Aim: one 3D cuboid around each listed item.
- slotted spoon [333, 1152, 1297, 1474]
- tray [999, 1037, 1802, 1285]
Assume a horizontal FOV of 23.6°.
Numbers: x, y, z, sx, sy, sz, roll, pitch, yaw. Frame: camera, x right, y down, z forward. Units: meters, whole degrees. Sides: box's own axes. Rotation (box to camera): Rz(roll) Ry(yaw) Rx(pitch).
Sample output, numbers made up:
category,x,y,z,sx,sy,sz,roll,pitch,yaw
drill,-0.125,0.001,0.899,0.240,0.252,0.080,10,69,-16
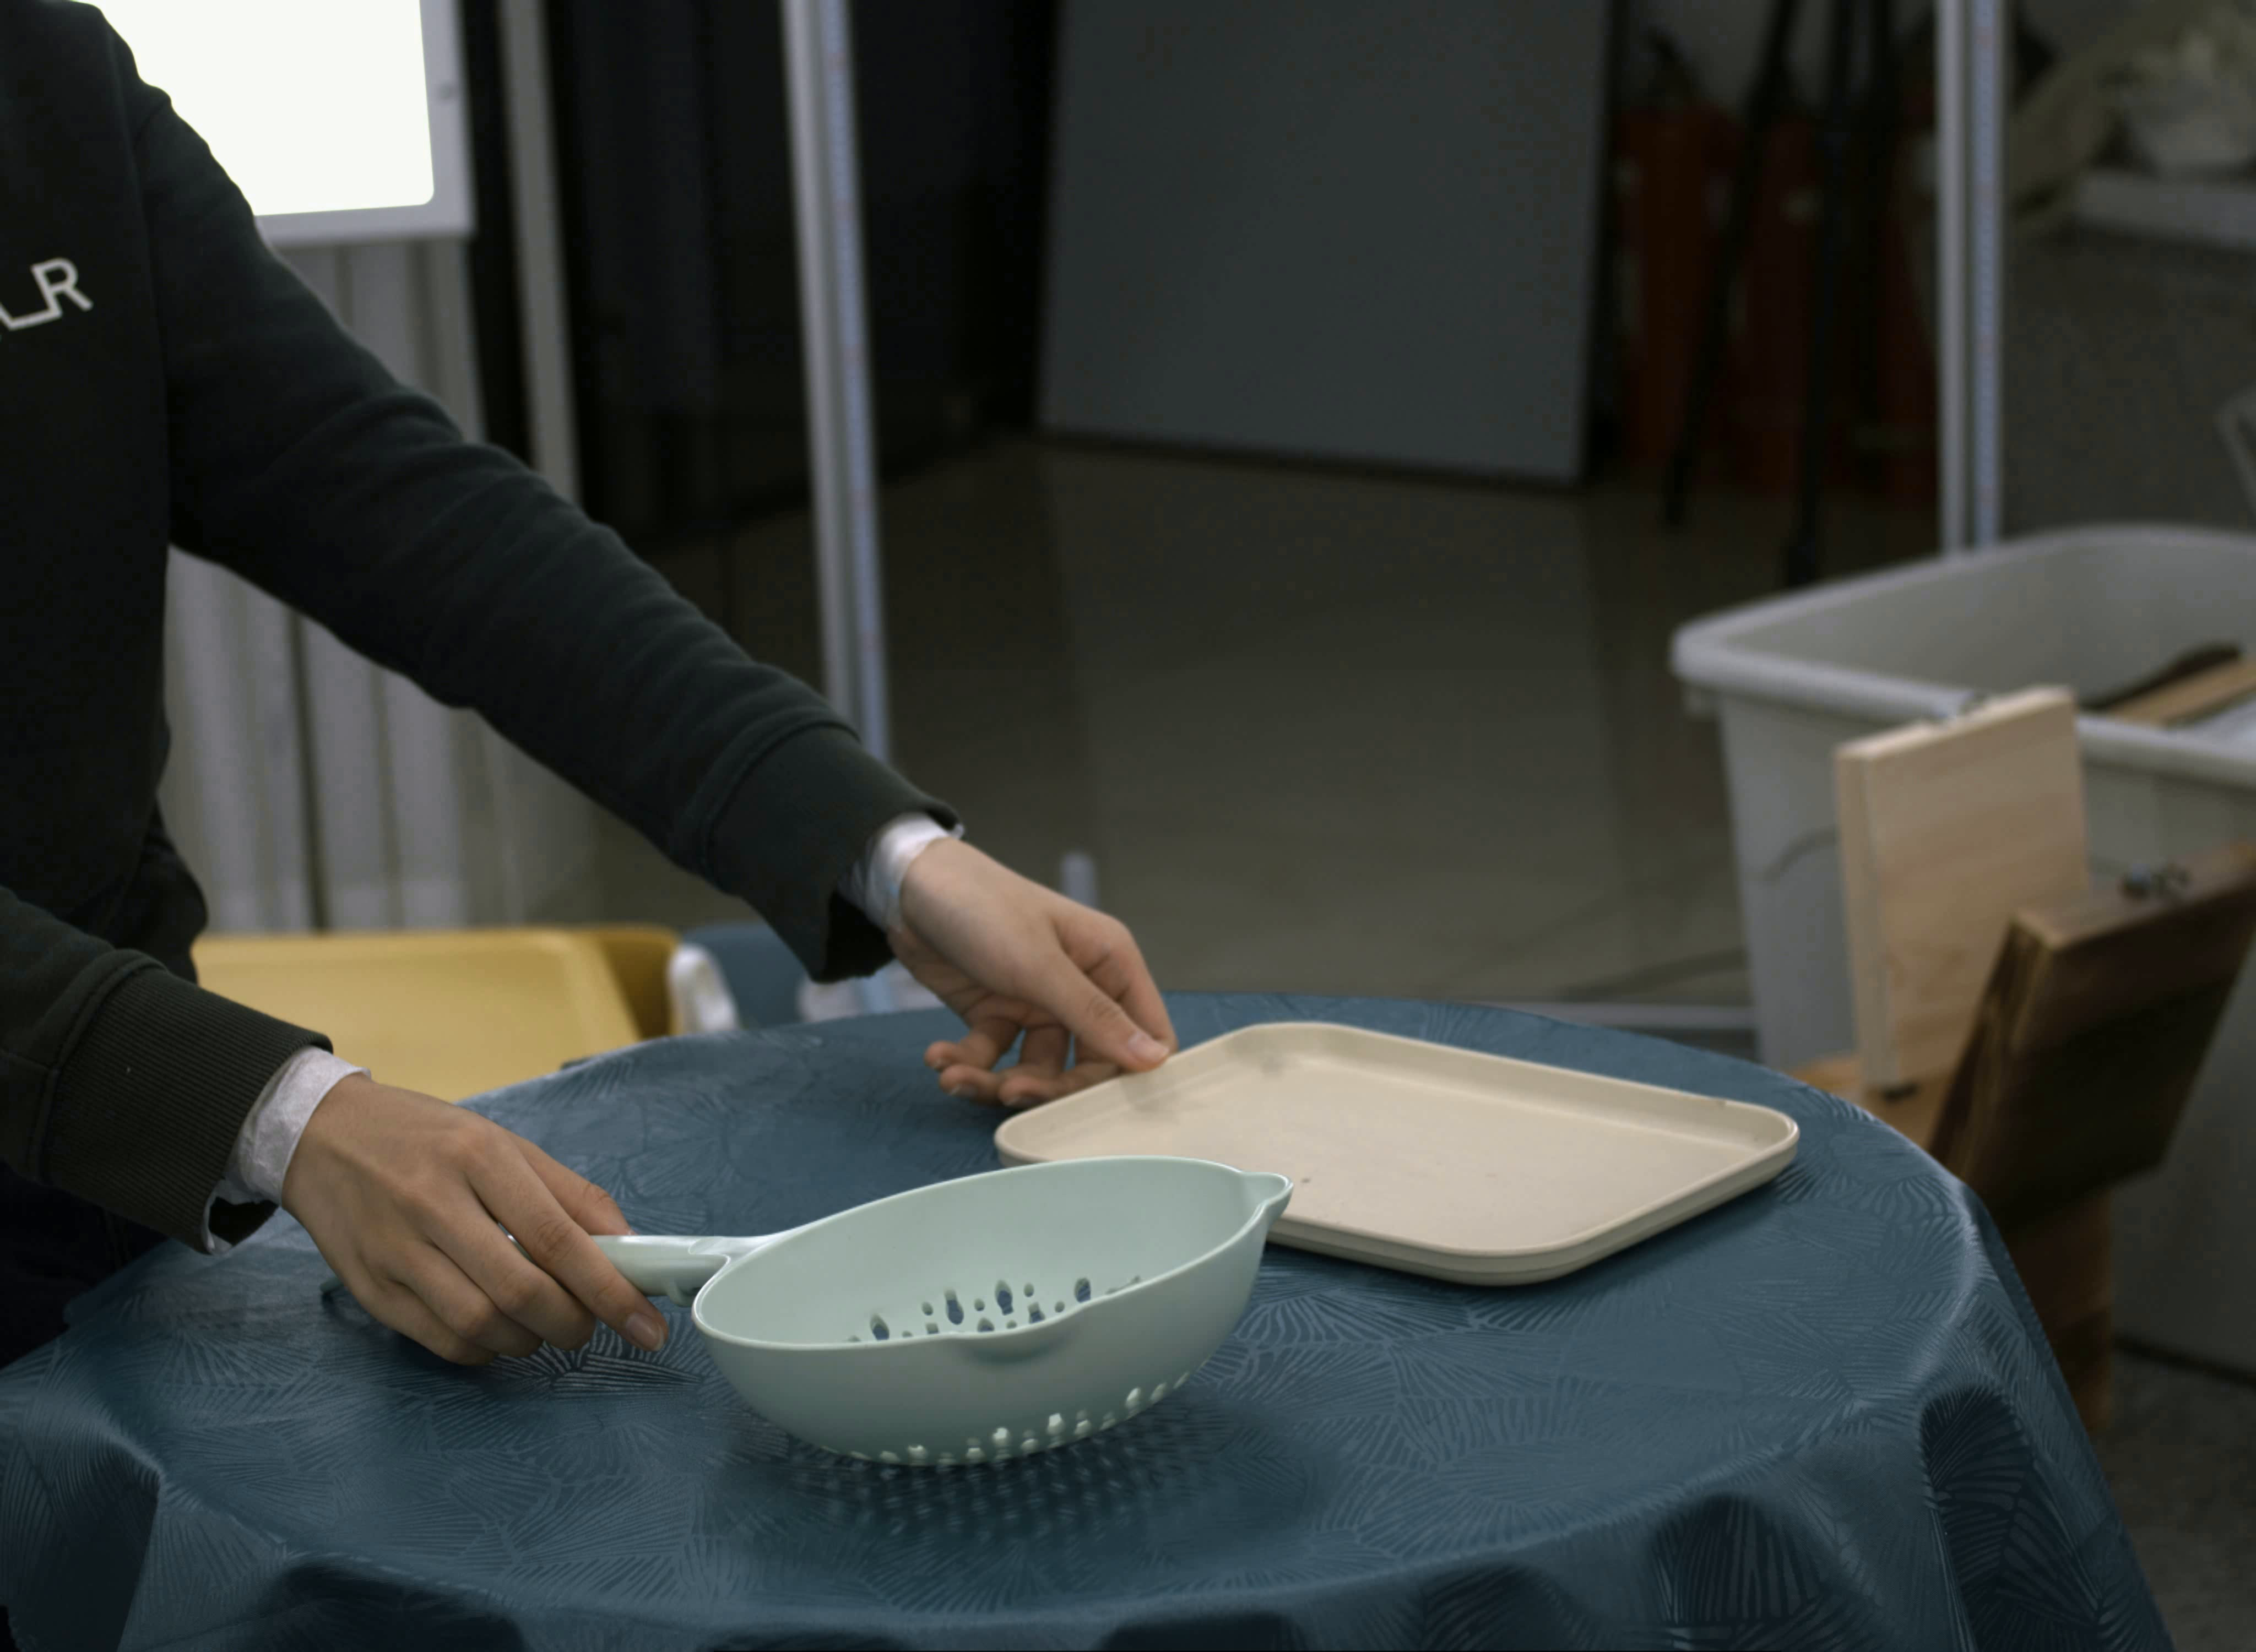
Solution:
category,x,y,z,sx,sy,sz,roll,pitch,yaw
slotted spoon,-0.113,0.137,1.607,0.361,0.076,0.166,7,19,38
tray,0.088,0.108,1.763,0.242,0.017,0.168,7,18,42
